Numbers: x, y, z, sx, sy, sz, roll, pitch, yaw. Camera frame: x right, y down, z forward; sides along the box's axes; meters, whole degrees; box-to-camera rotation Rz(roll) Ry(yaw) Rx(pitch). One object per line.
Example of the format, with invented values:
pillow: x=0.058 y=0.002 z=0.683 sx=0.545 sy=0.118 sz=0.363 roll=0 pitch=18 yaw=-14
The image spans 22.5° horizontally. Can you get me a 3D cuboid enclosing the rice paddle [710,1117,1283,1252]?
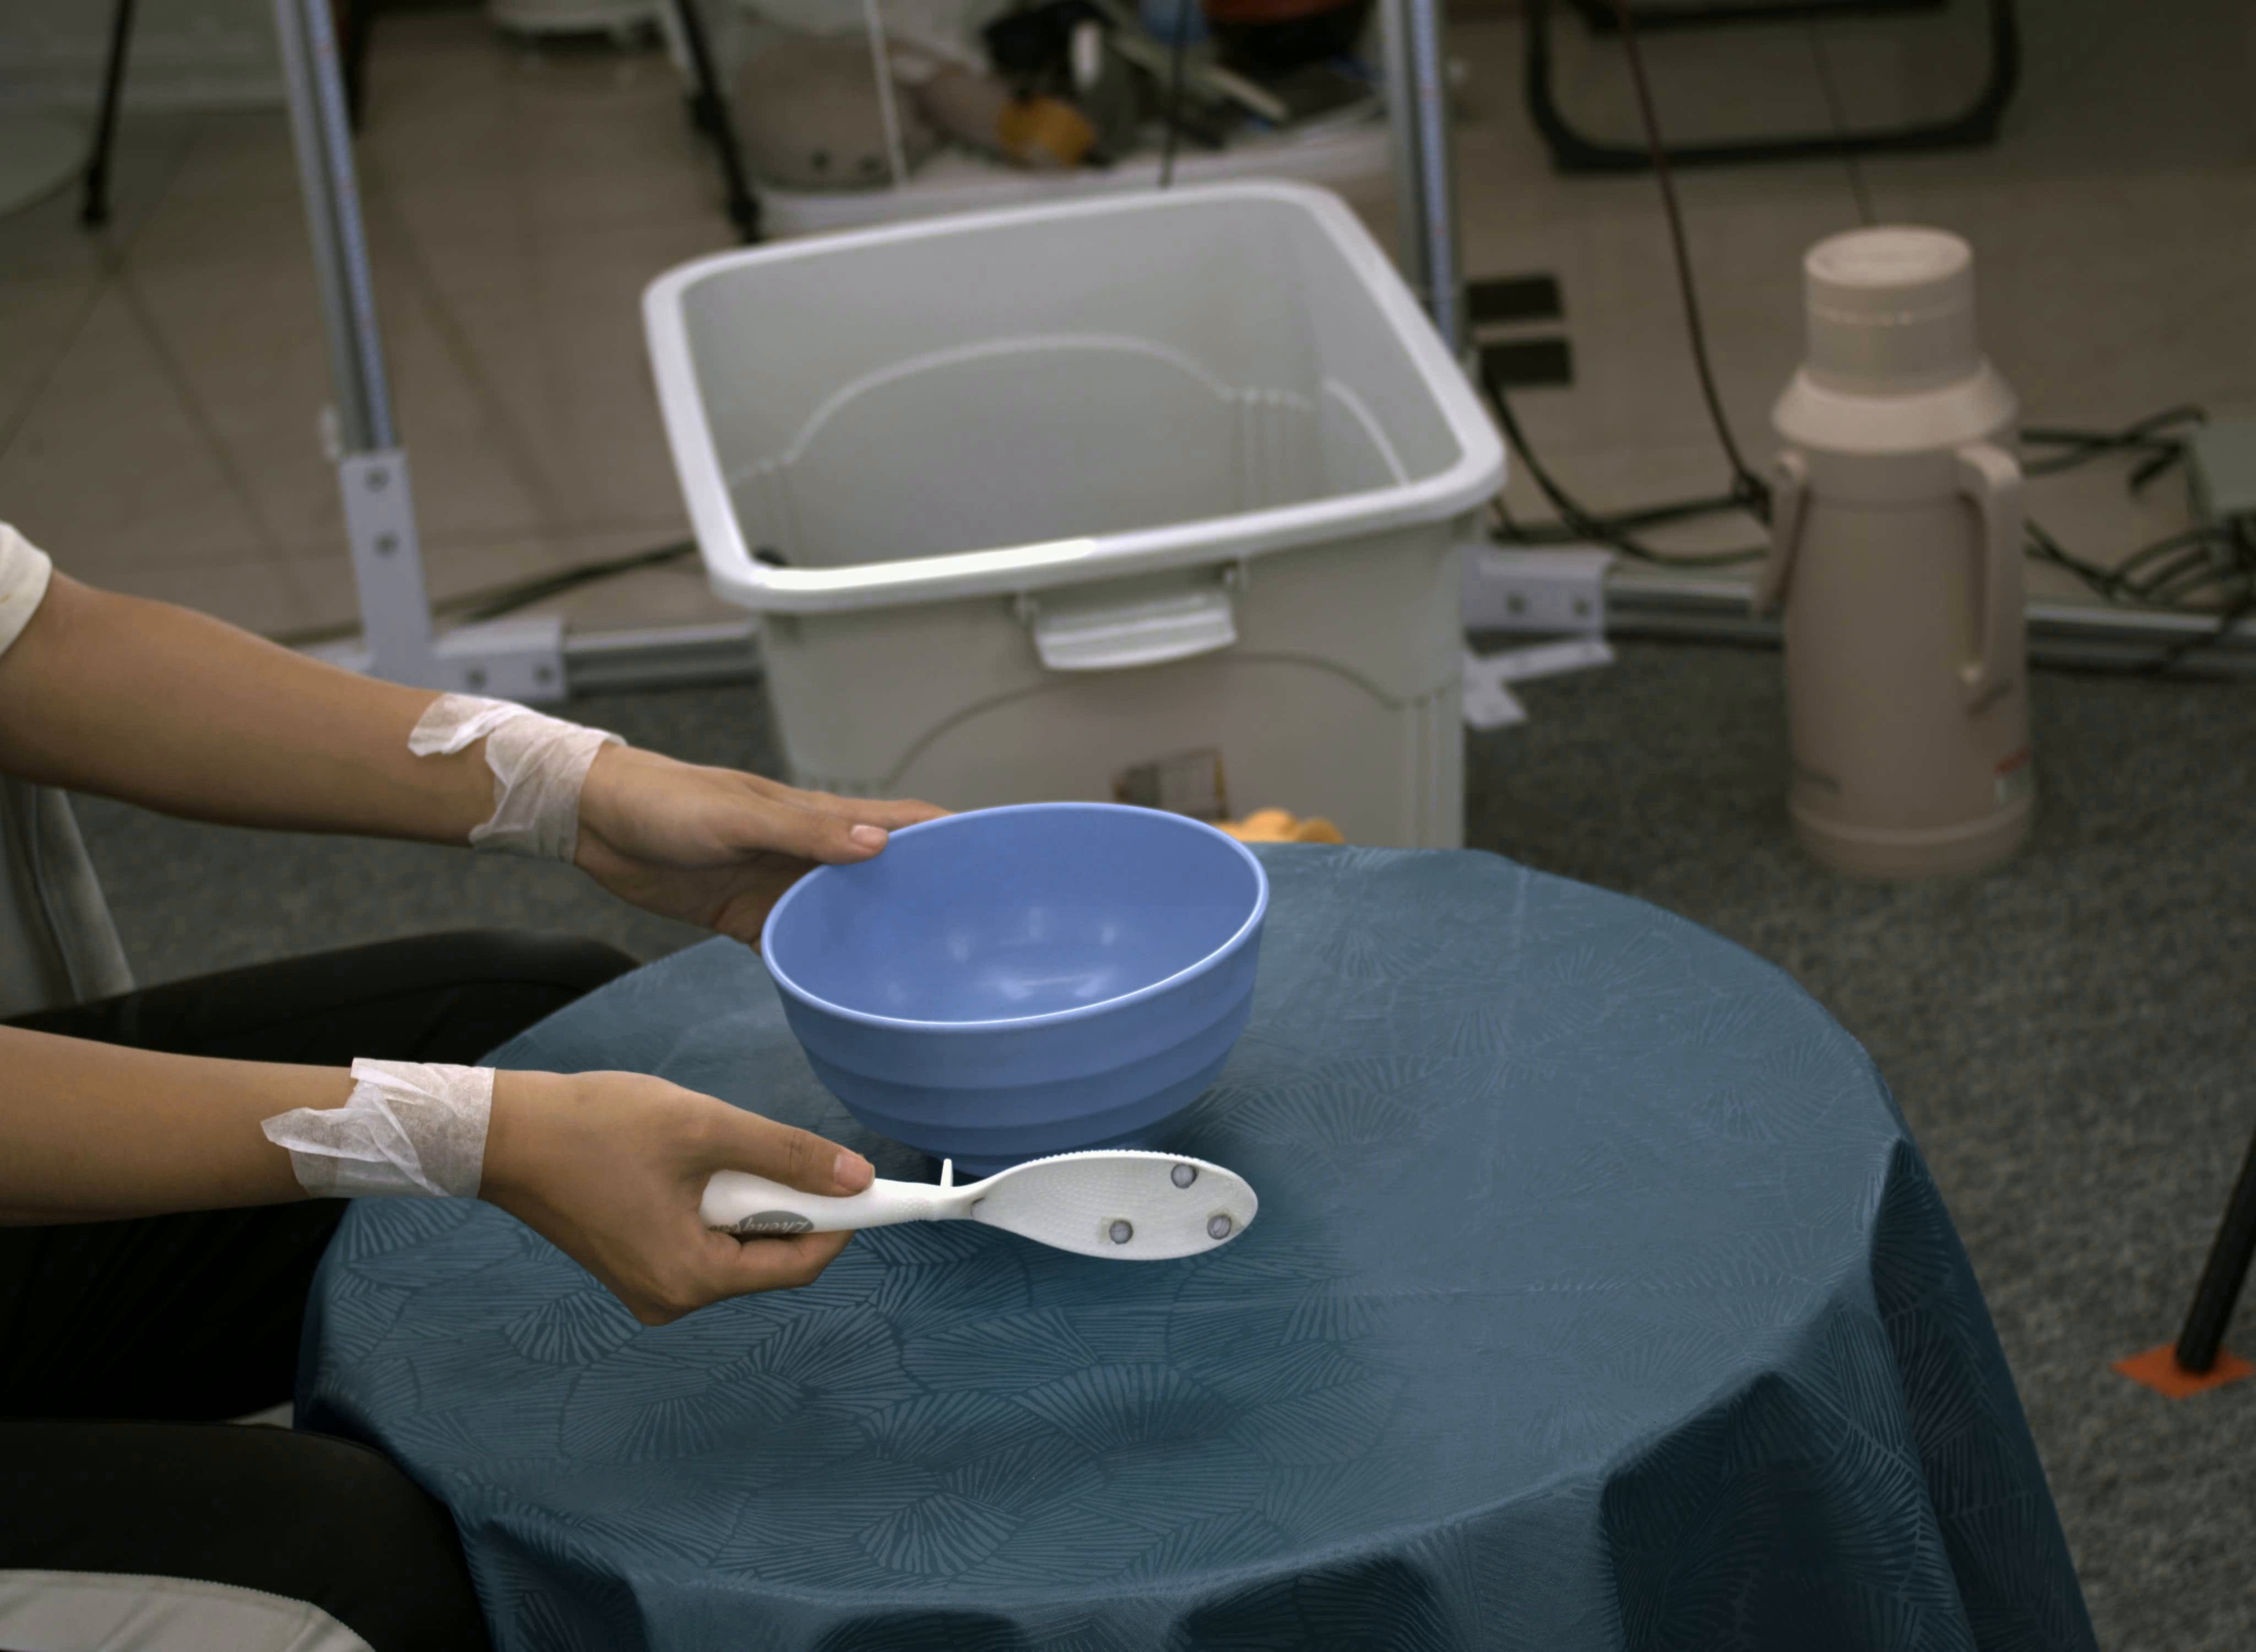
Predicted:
rice paddle: x=-0.046 y=0.126 z=1.990 sx=0.205 sy=0.070 sz=0.029 roll=-1 pitch=45 yaw=15

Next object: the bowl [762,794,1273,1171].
bowl: x=-0.039 y=0.072 z=2.187 sx=0.196 sy=0.097 sz=0.193 roll=-4 pitch=26 yaw=2
